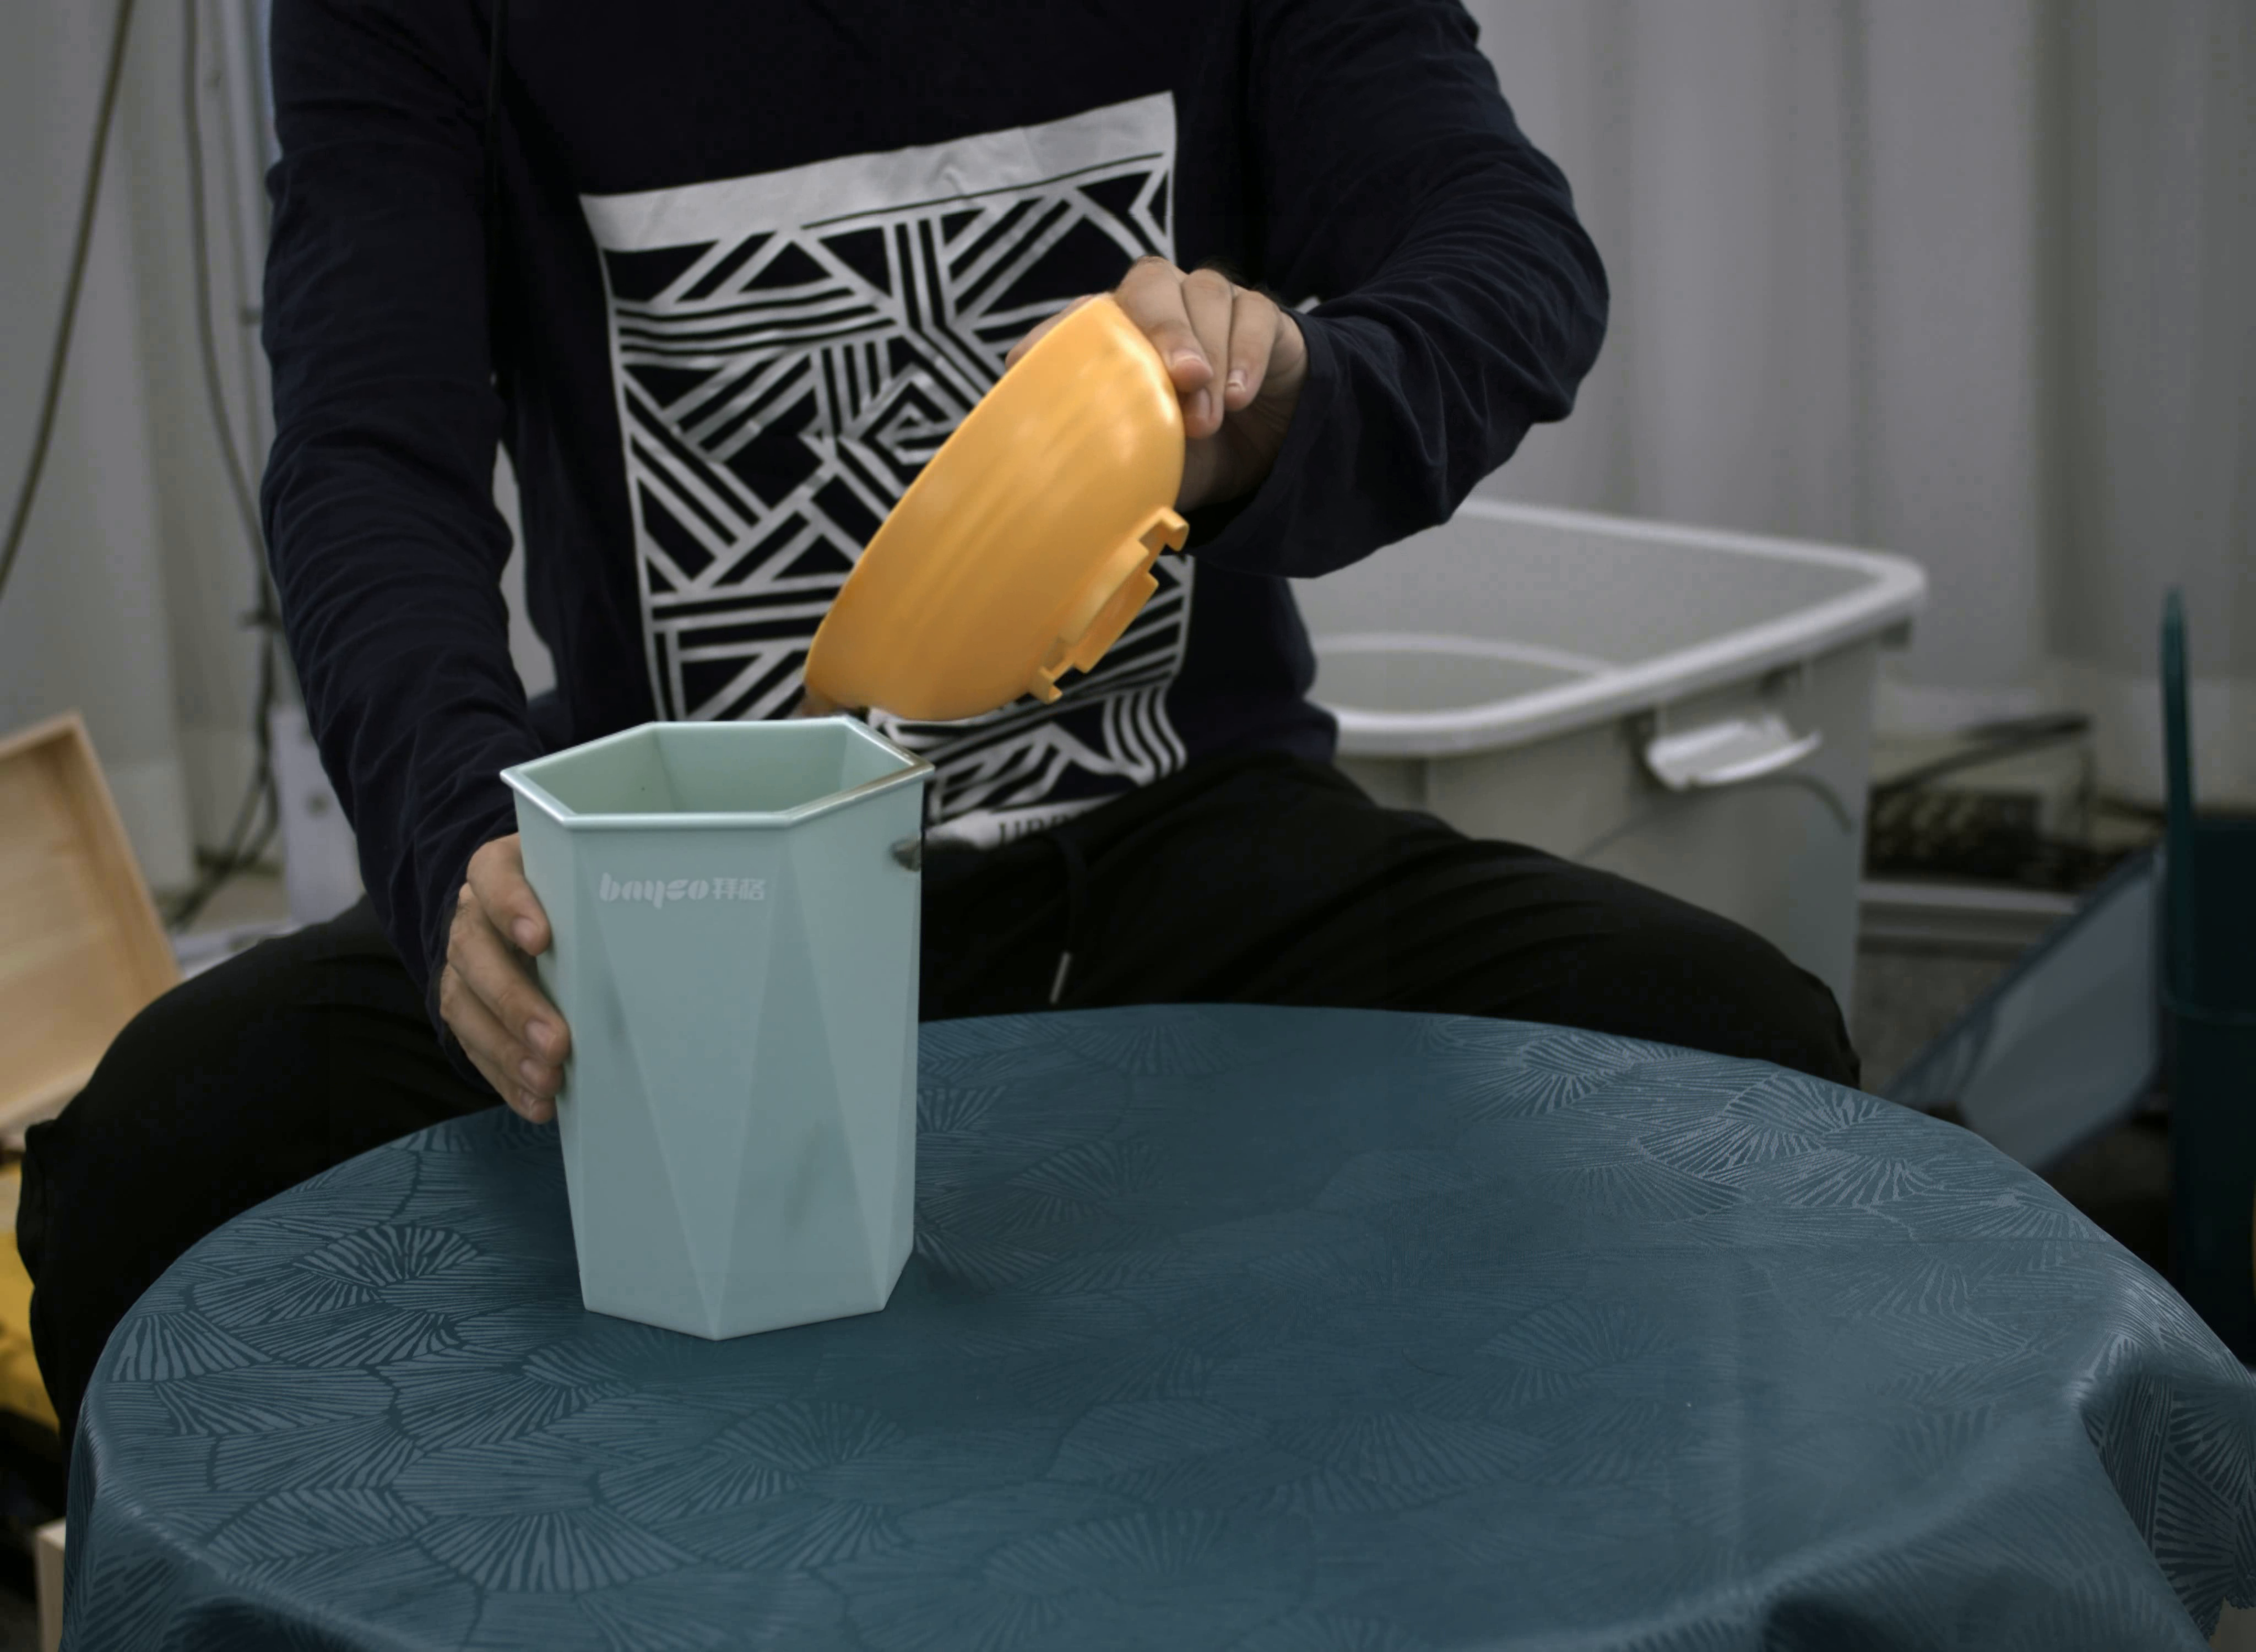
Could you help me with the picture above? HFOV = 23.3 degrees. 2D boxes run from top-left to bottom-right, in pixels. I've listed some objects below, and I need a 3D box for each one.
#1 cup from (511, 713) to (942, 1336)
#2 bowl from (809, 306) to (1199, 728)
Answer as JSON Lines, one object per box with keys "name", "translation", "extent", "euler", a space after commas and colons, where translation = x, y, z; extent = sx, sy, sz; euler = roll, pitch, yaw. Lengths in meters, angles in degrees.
{"name": "cup", "translation": [-0.116, 0.058, 1.631], "extent": [0.131, 0.162, 0.116], "euler": [0, 13, 7]}
{"name": "bowl", "translation": [-0.023, -0.077, 1.582], "extent": [0.060, 0.144, 0.146], "euler": [41, 26, 8]}
